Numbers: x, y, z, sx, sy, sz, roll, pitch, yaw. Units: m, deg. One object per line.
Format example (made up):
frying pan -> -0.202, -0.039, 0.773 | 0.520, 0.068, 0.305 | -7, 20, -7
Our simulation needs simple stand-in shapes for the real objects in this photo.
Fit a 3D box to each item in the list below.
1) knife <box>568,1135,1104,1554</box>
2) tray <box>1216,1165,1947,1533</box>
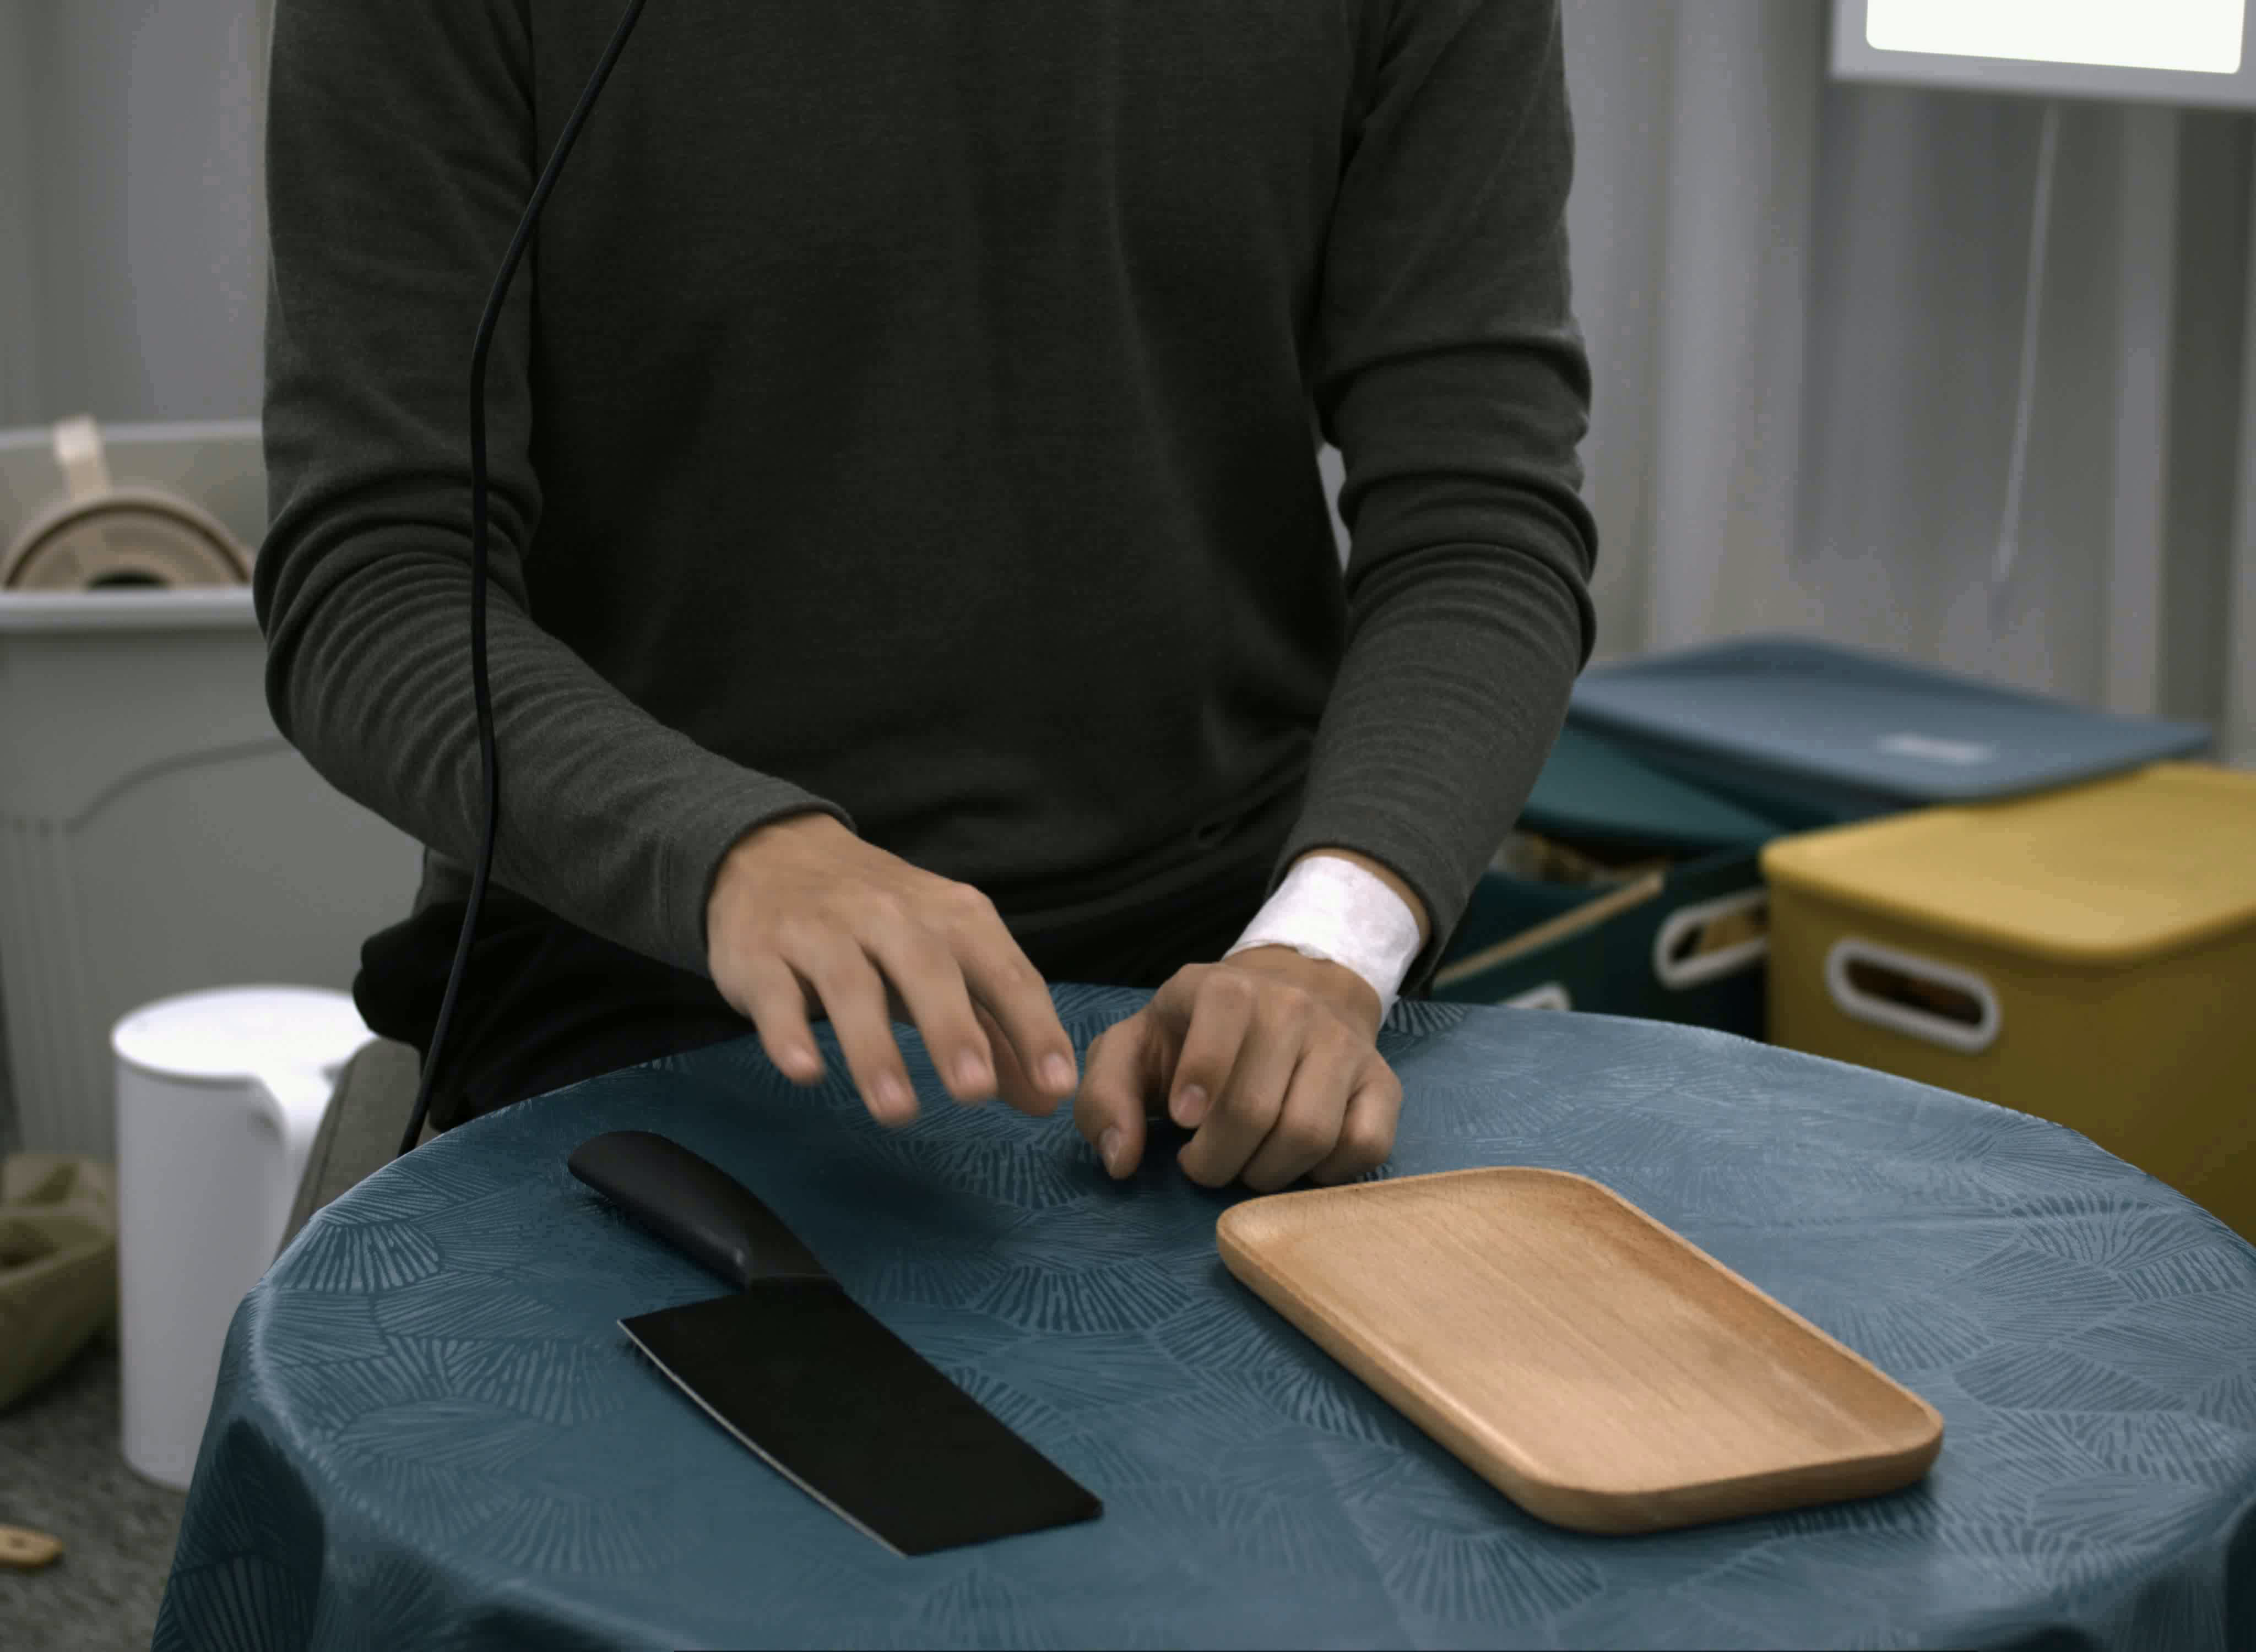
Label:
knife -> -0.099, 0.143, 1.485 | 0.081, 0.021, 0.298 | -7, 19, -23
tray -> 0.122, 0.144, 1.485 | 0.131, 0.023, 0.248 | -3, 14, -21
